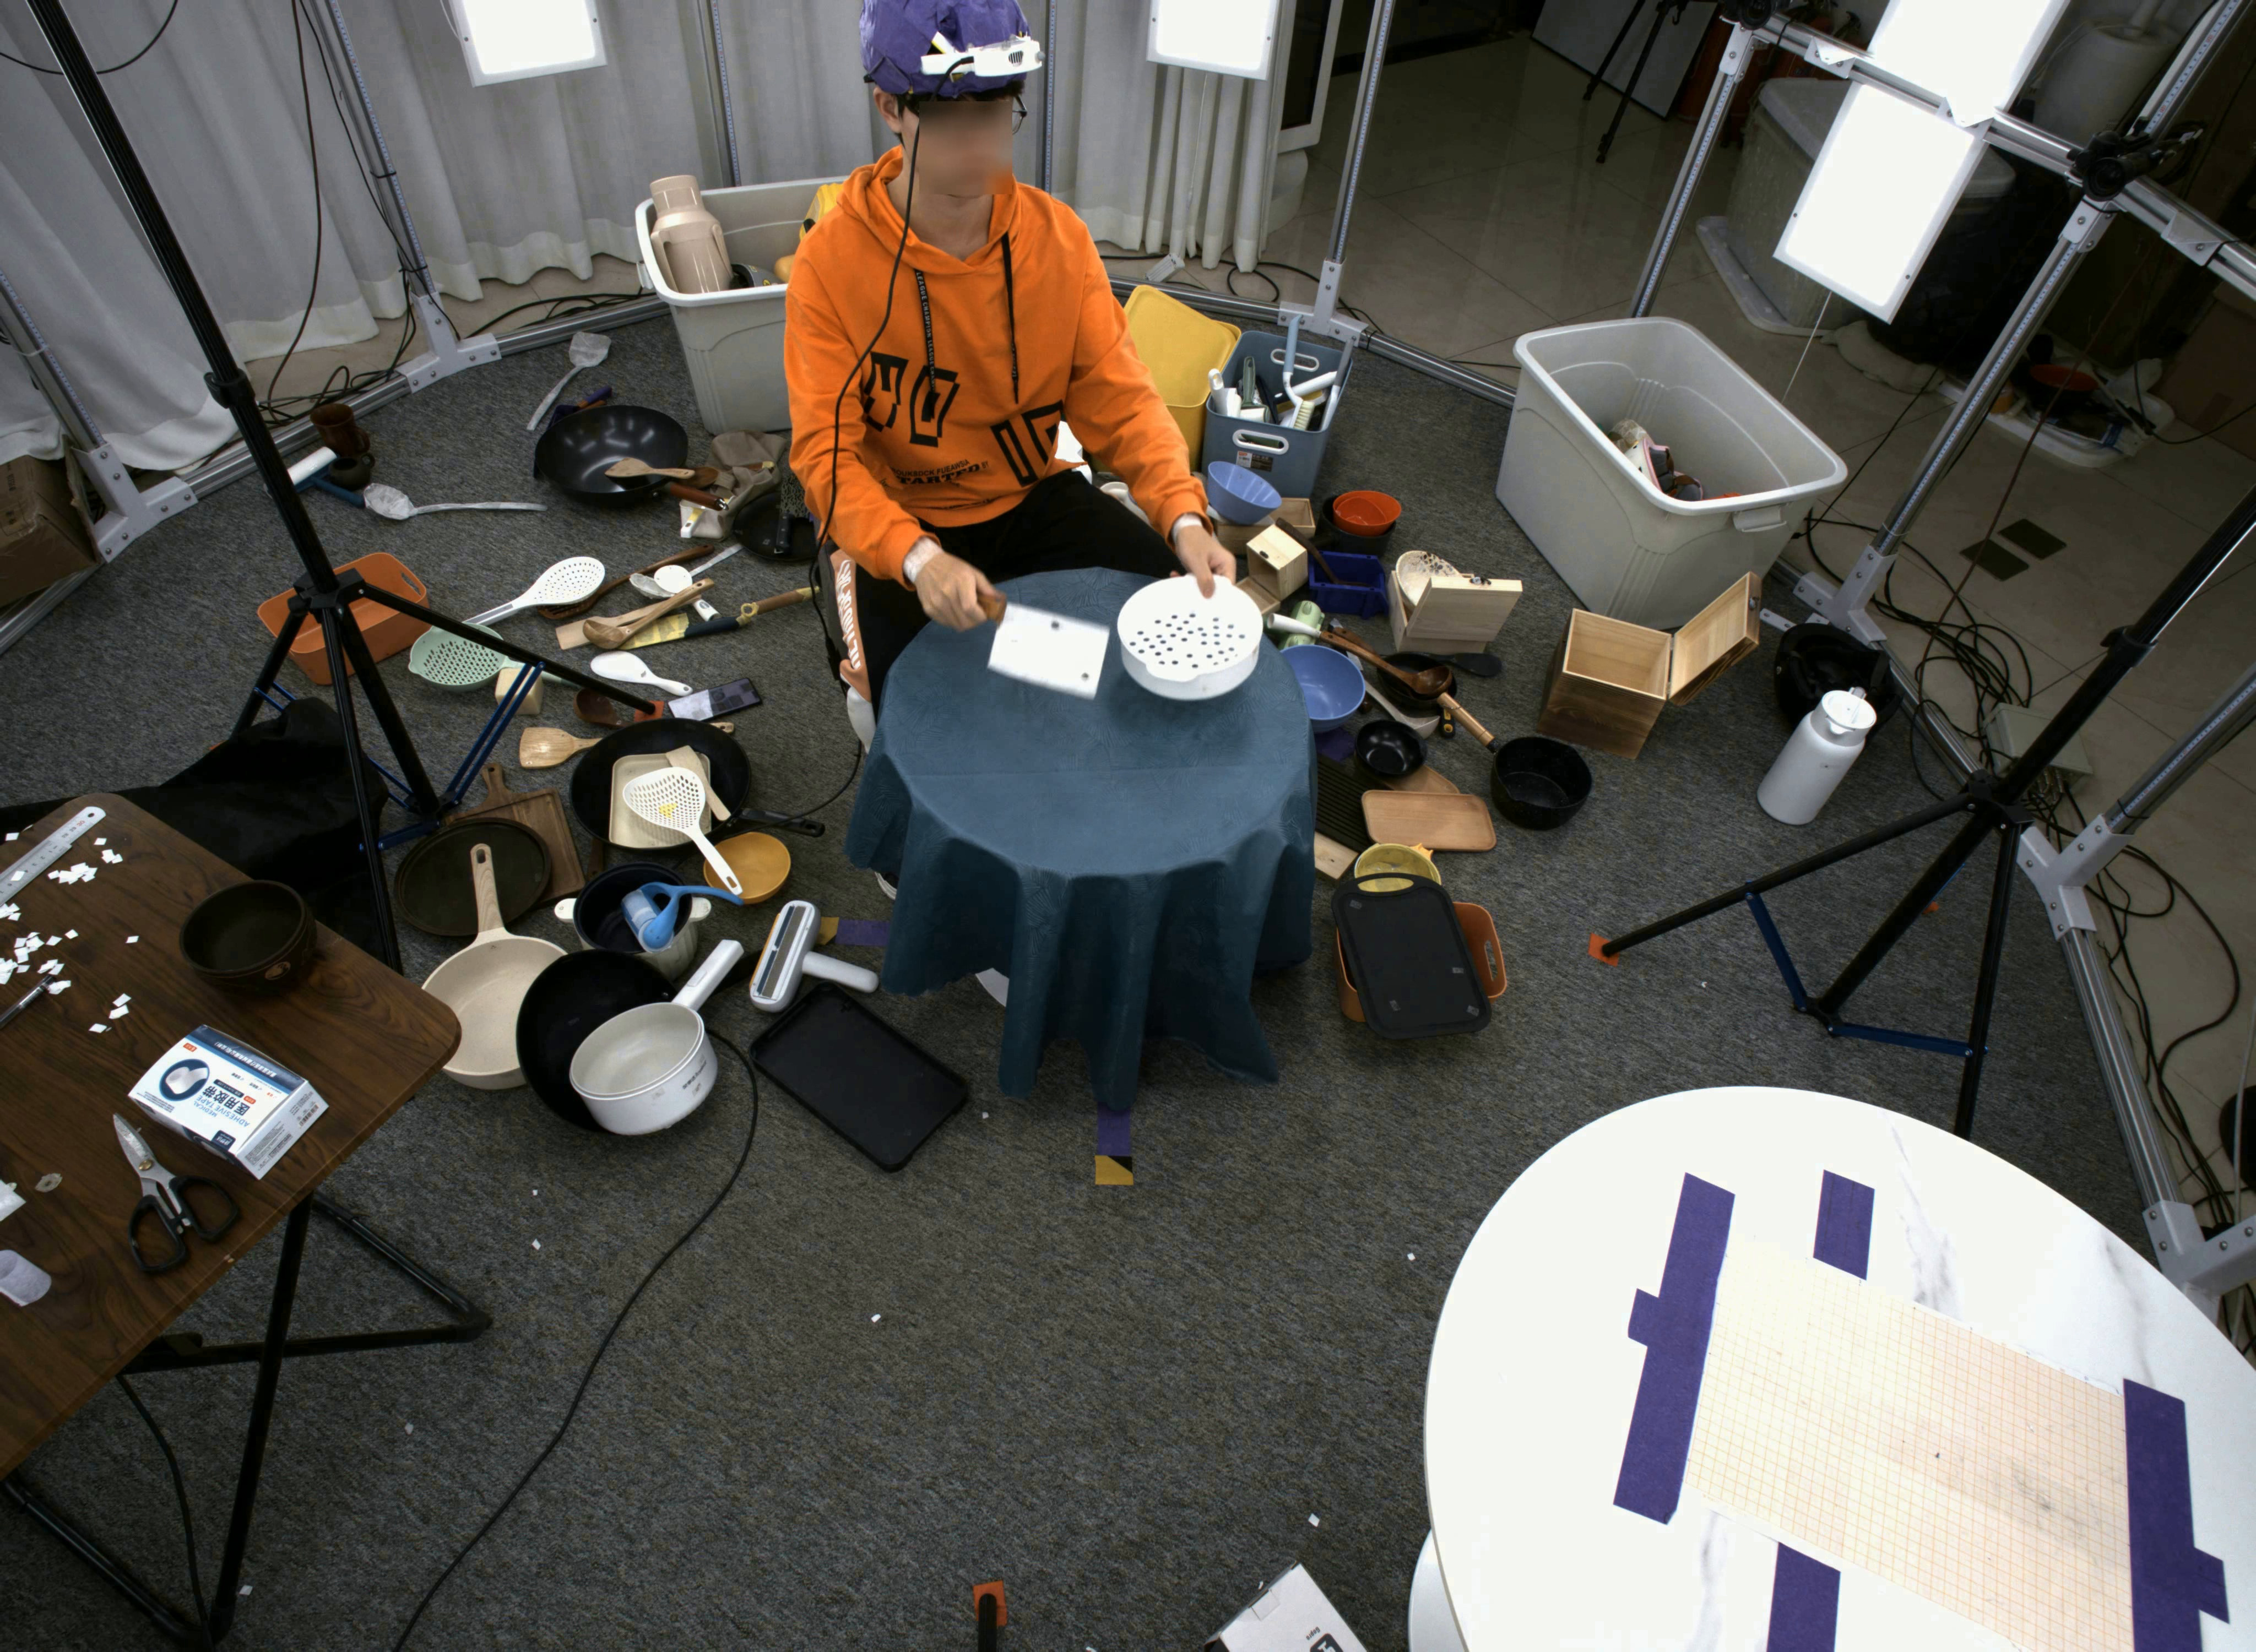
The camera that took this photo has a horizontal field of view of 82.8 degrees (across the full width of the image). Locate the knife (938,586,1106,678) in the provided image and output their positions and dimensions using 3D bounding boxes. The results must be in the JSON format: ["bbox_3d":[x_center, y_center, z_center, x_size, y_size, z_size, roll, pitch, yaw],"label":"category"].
[{"bbox_3d":[-0.147,-0.255,1.697,0.309,0.092,0.021,19,15,37],"label":"knife"}]

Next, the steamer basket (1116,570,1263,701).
[{"bbox_3d":[0.086,-0.262,1.792,0.202,0.067,0.235,10,51,14],"label":"steamer basket"}]
